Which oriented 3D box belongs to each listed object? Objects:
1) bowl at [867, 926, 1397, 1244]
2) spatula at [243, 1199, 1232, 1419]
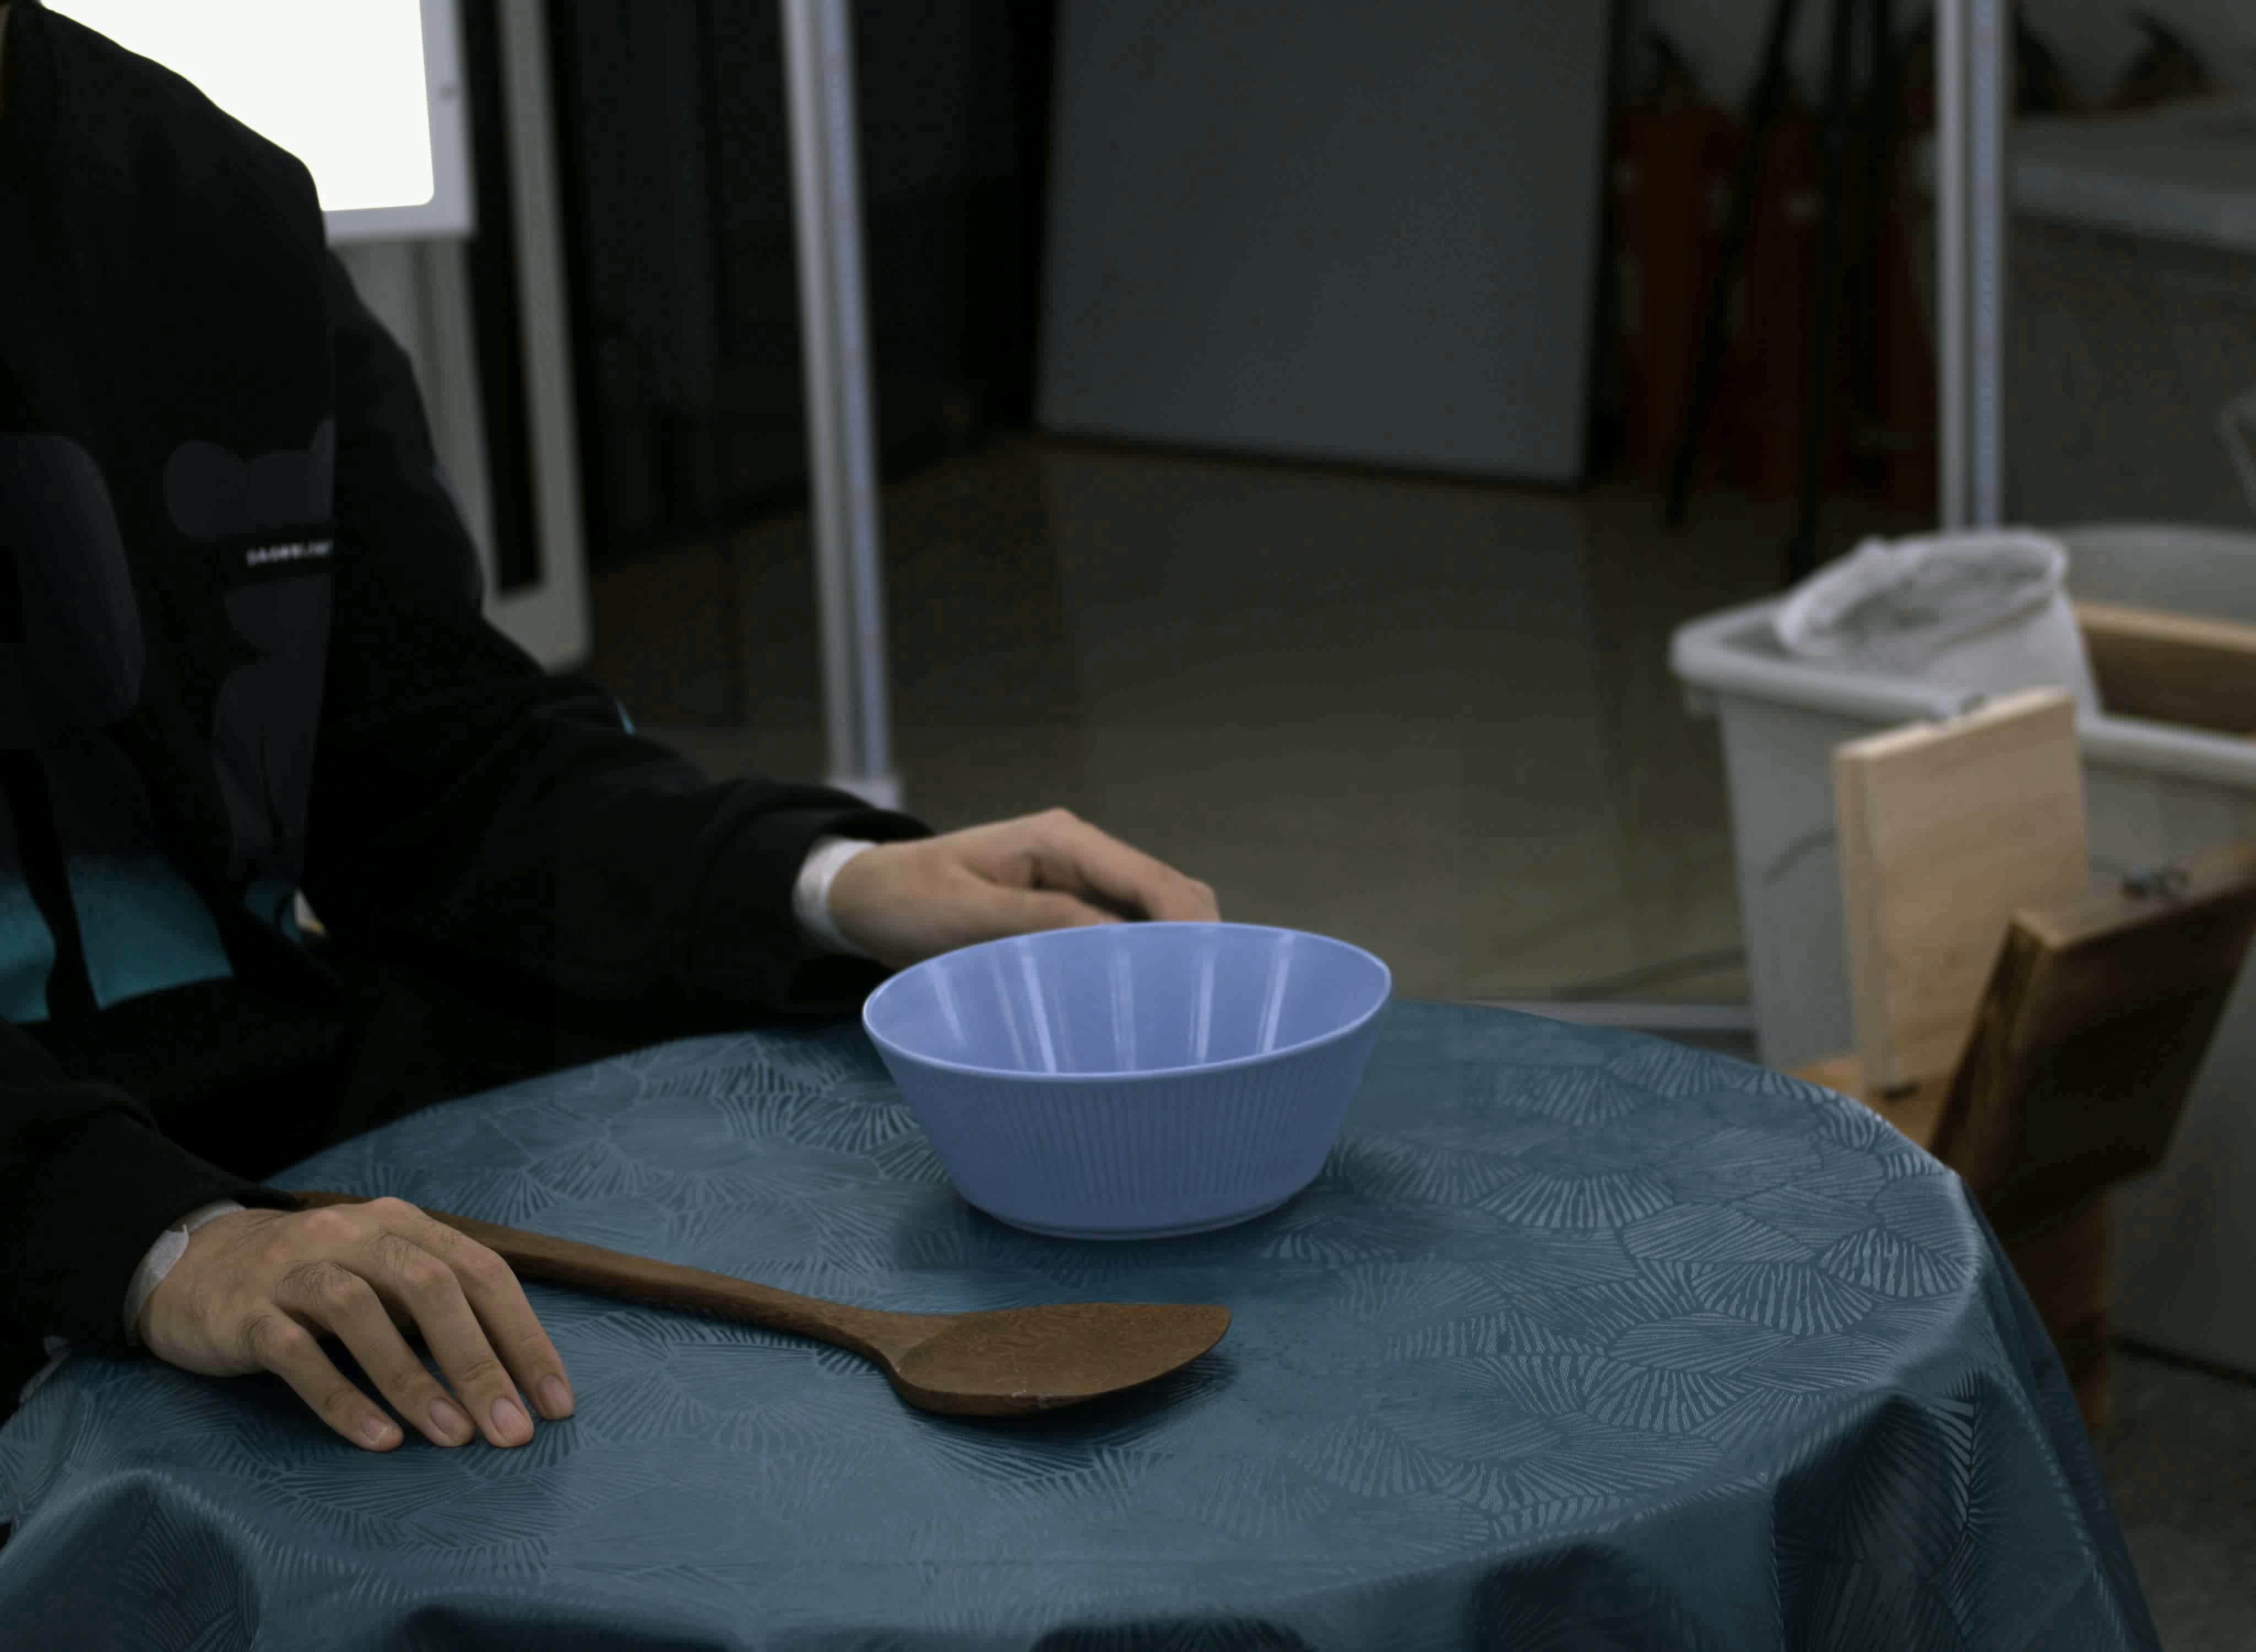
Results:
[{"bbox_3d":[0.004,0.087,1.763,0.174,0.071,0.176,-5,13,0],"label":"bowl"},{"bbox_3d":[-0.138,0.146,1.685,0.388,0.016,0.094,6,17,37],"label":"spatula"}]
